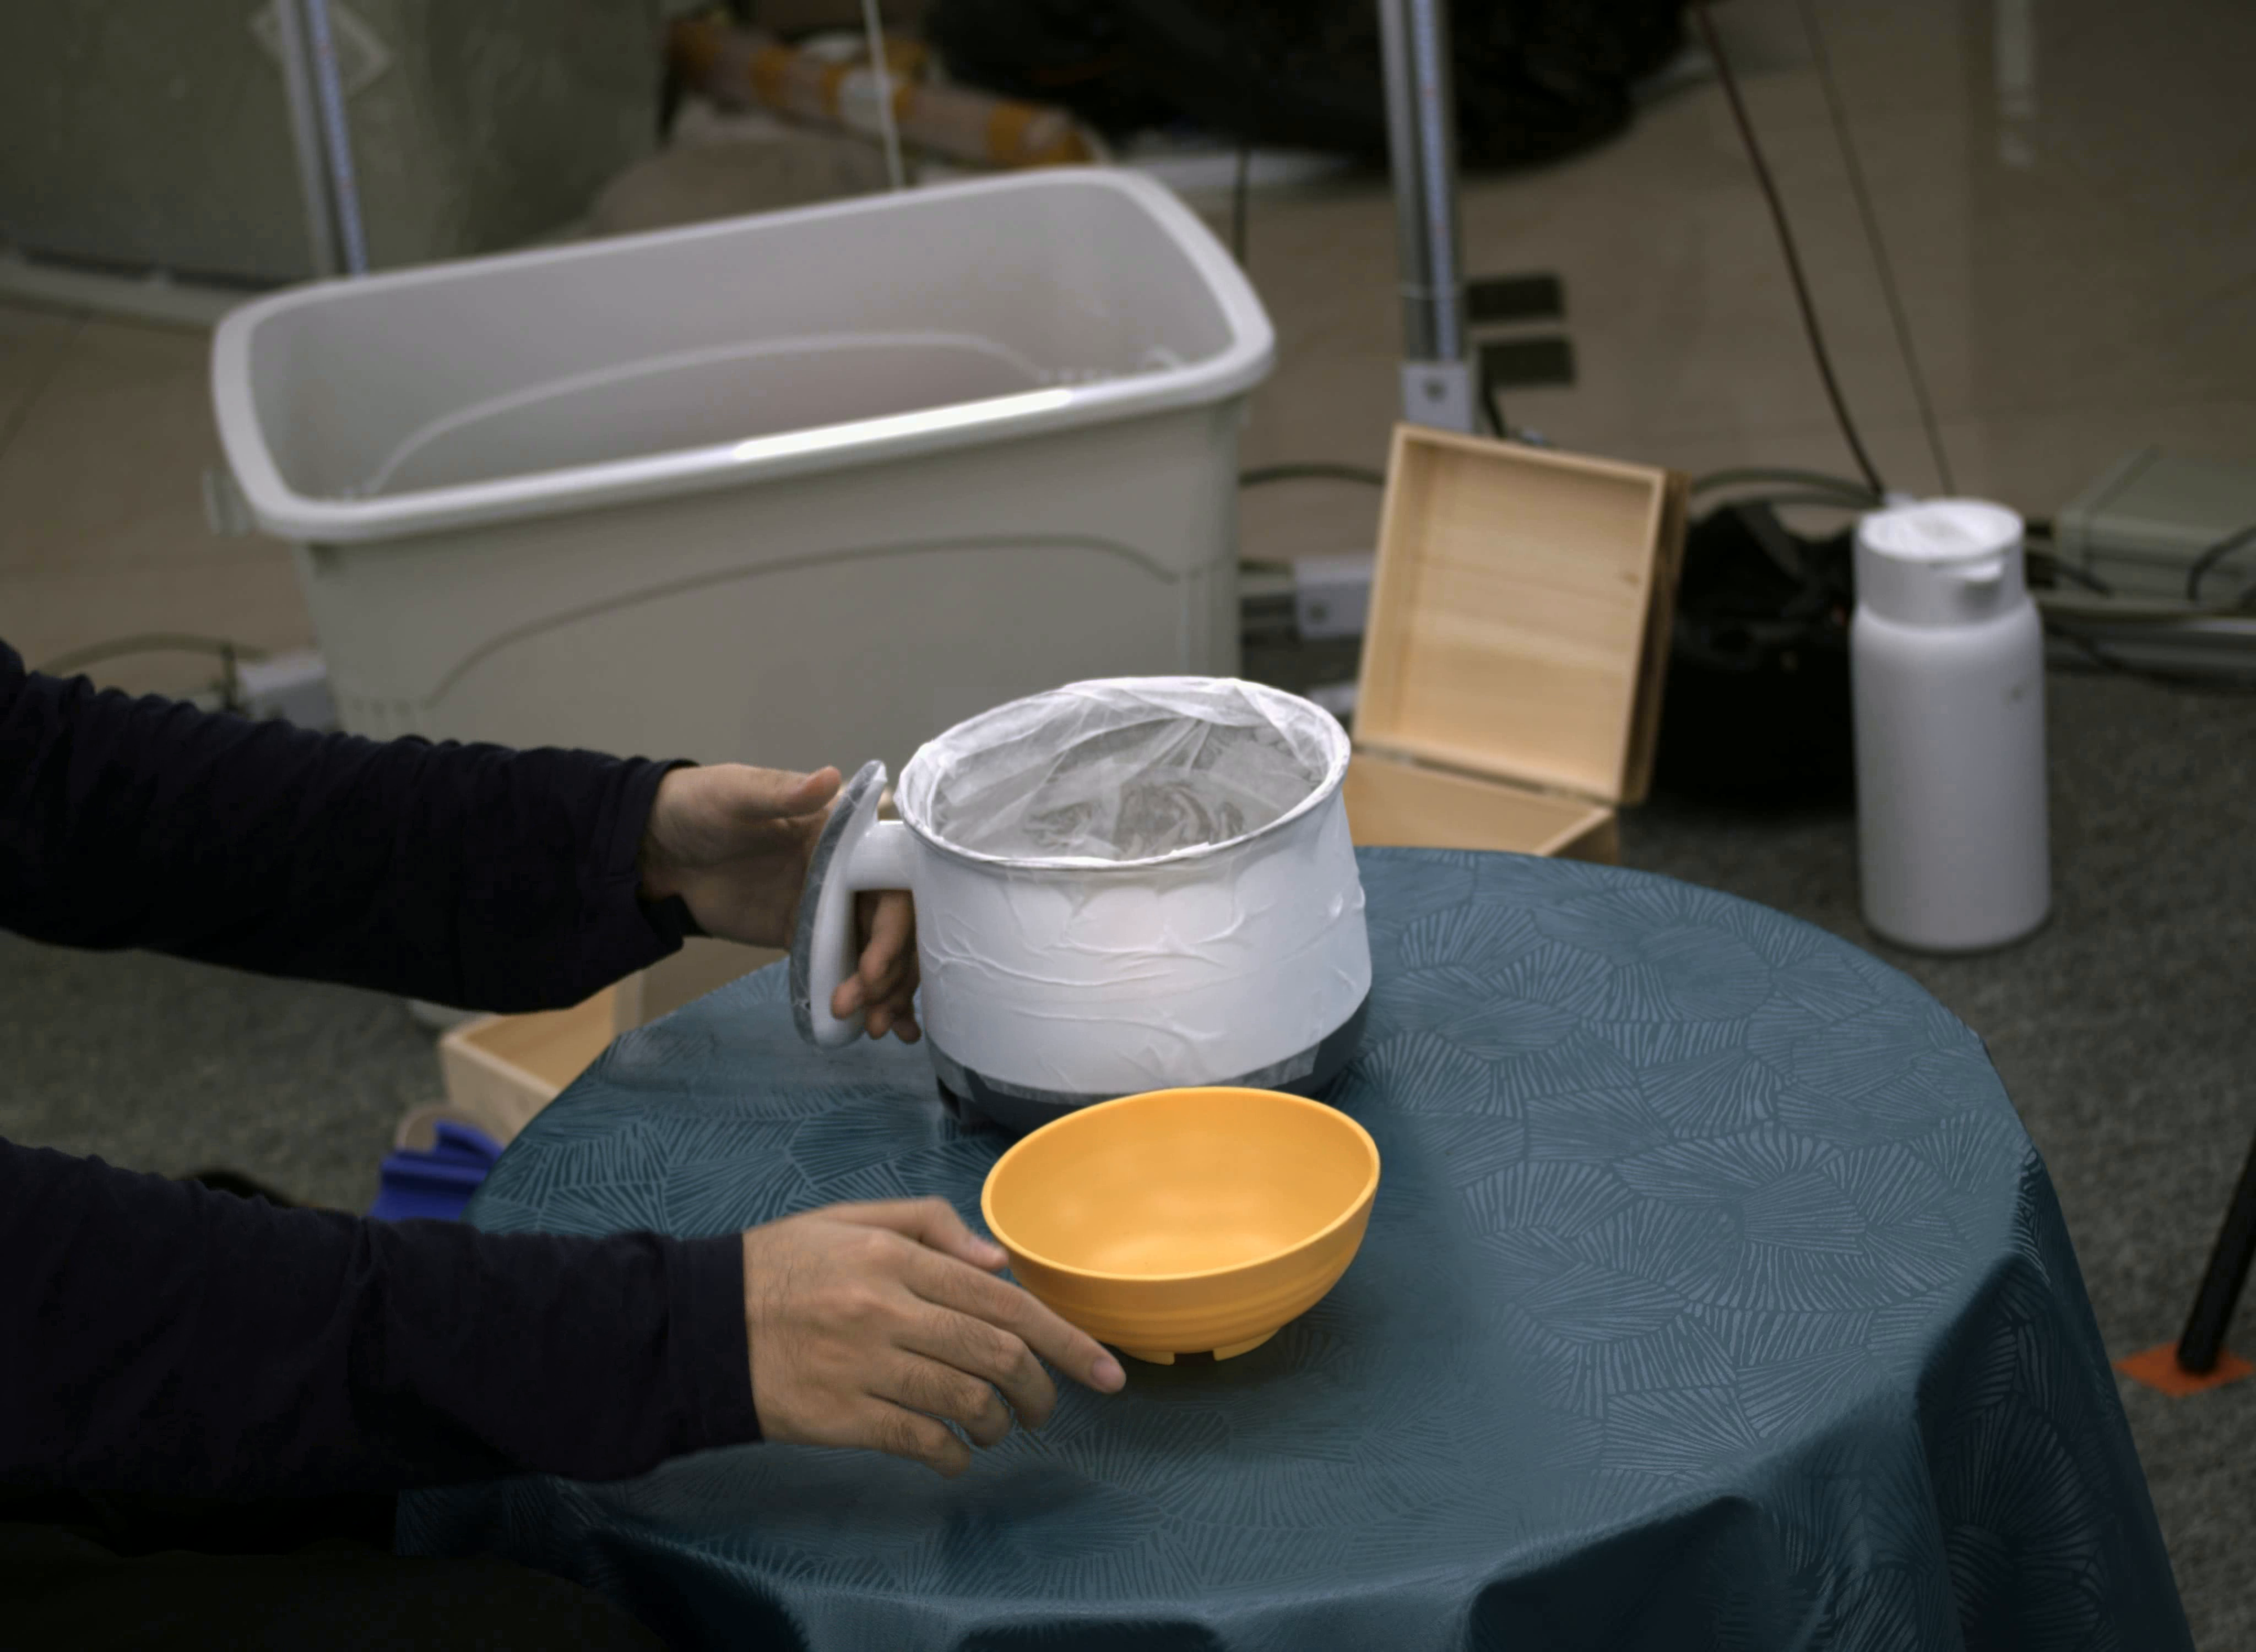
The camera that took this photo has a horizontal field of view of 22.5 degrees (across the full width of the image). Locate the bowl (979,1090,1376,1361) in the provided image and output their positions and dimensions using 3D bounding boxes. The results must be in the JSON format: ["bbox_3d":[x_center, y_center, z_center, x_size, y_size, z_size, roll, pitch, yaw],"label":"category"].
[{"bbox_3d":[0.020,0.151,2.044,0.145,0.061,0.143,-4,24,2],"label":"bowl"}]

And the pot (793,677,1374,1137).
[{"bbox_3d":[-0.022,0.037,2.217,0.233,0.139,0.176,-2,25,12],"label":"pot"}]
